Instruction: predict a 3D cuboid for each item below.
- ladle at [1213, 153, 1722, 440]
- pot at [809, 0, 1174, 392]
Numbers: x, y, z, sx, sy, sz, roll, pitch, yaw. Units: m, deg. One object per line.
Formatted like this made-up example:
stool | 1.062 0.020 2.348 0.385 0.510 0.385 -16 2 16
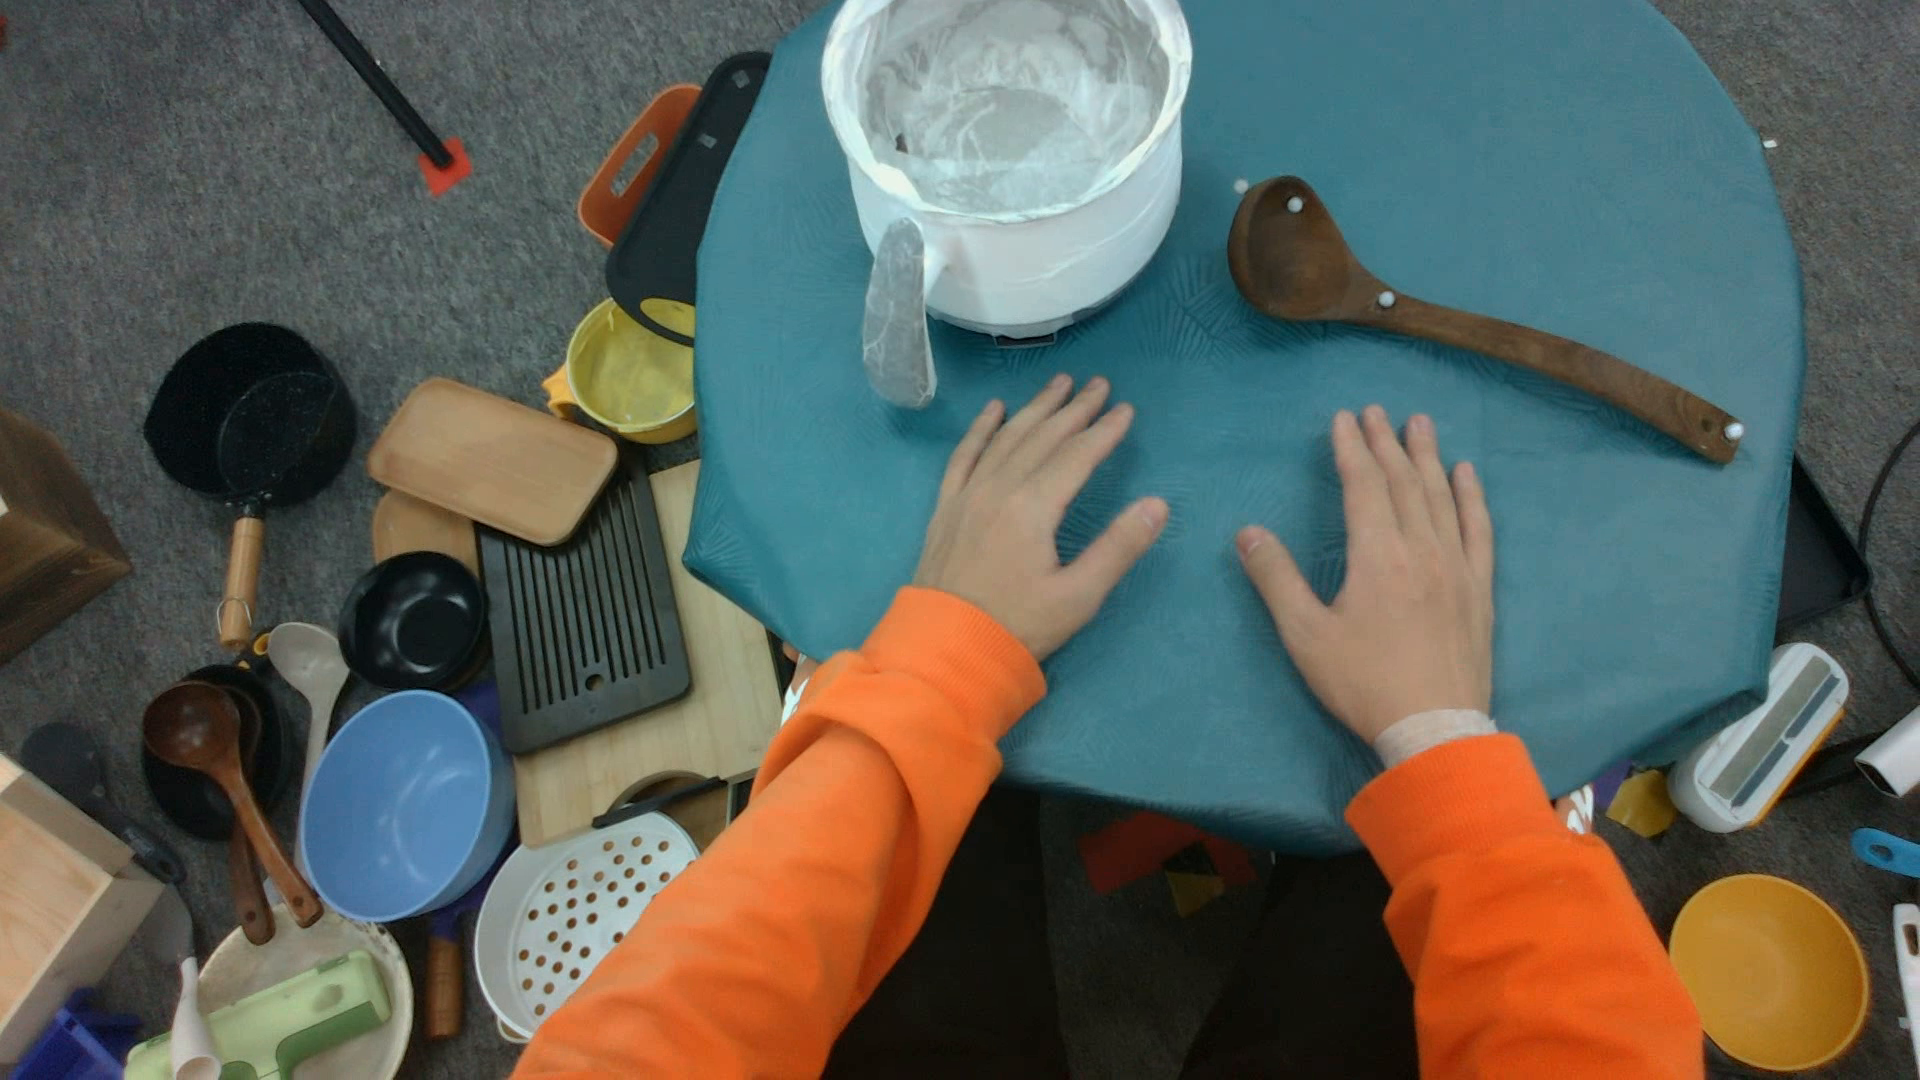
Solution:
ladle | 0.260 -0.122 0.702 0.274 0.071 0.076 24 78 13
pot | 0.008 -0.193 0.714 0.178 0.136 0.234 23 74 13
